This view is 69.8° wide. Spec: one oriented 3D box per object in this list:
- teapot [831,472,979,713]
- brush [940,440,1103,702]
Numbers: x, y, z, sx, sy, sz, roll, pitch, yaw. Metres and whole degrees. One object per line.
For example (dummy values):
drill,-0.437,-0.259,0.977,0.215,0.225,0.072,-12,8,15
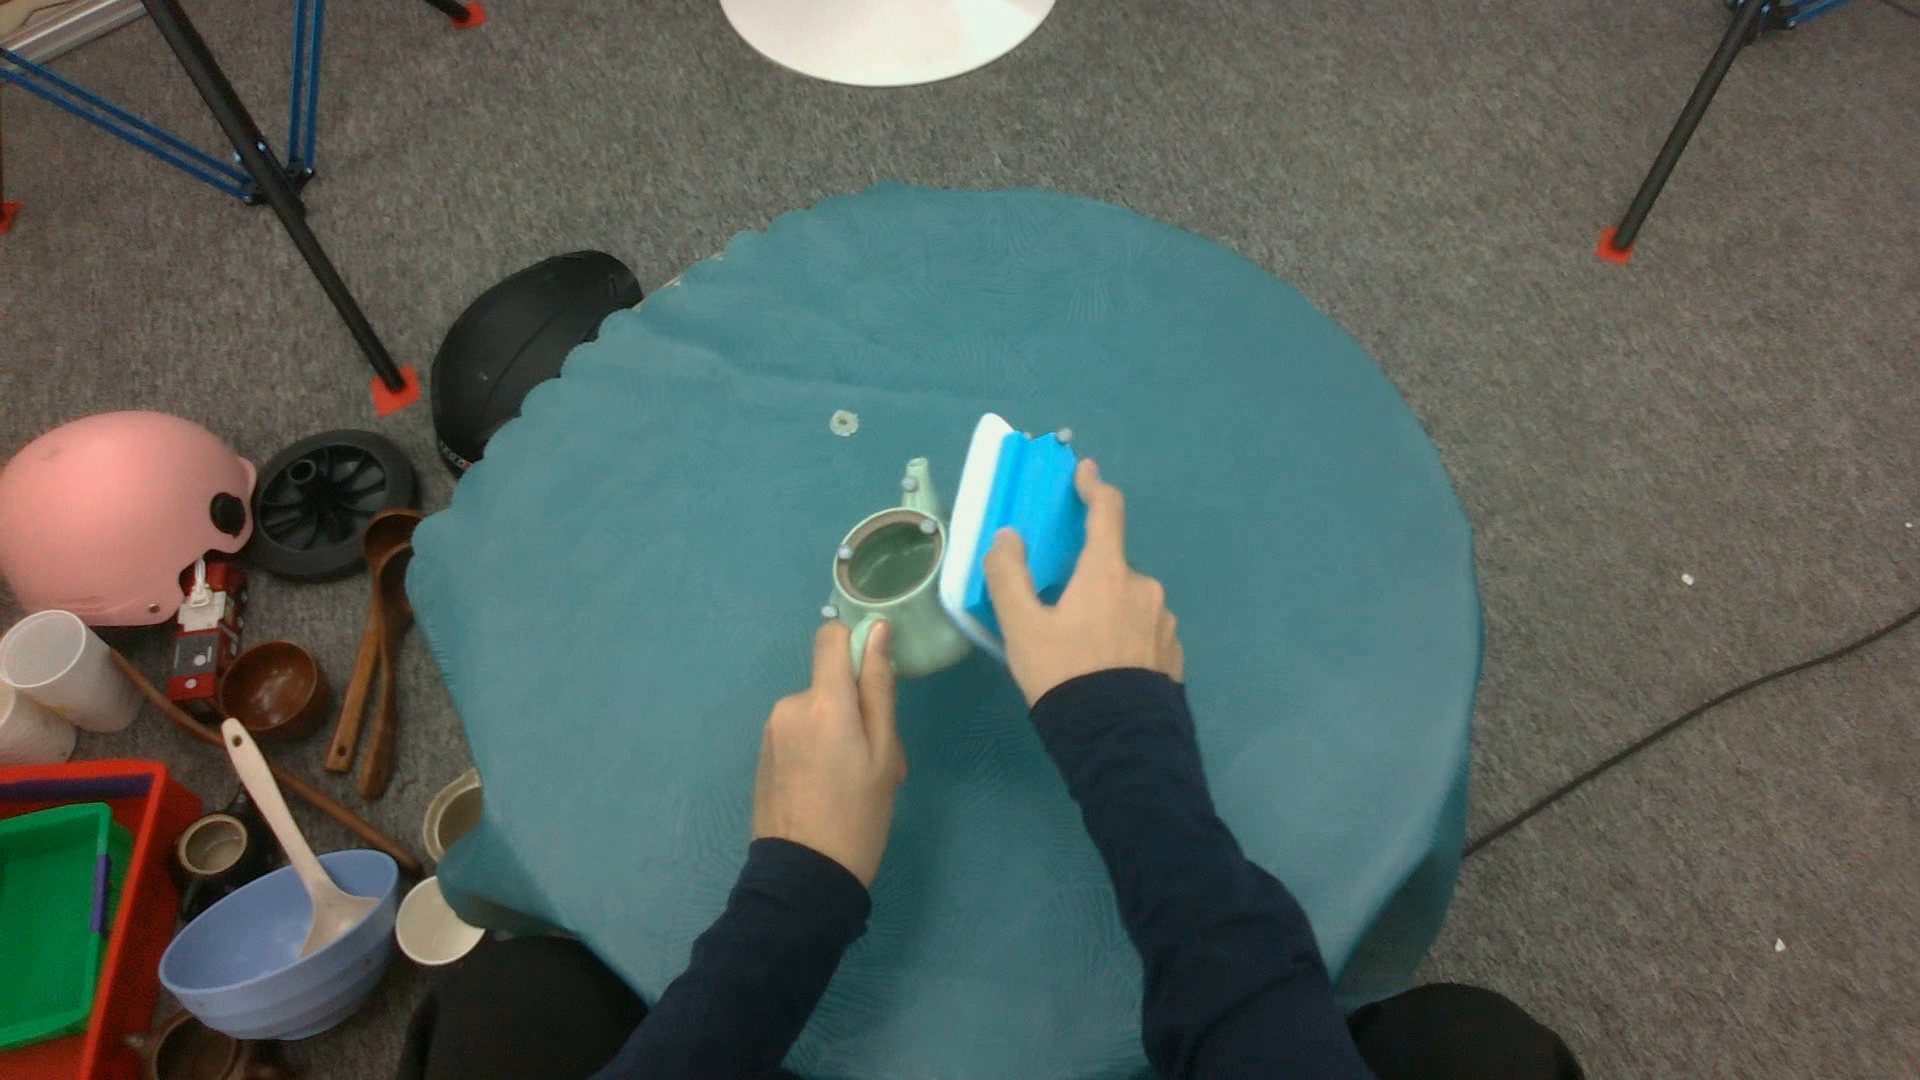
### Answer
teapot,-0.028,0.034,0.722,0.096,0.061,0.137,-1,52,23
brush,0.042,0.008,0.711,0.055,0.084,0.145,-28,32,38
